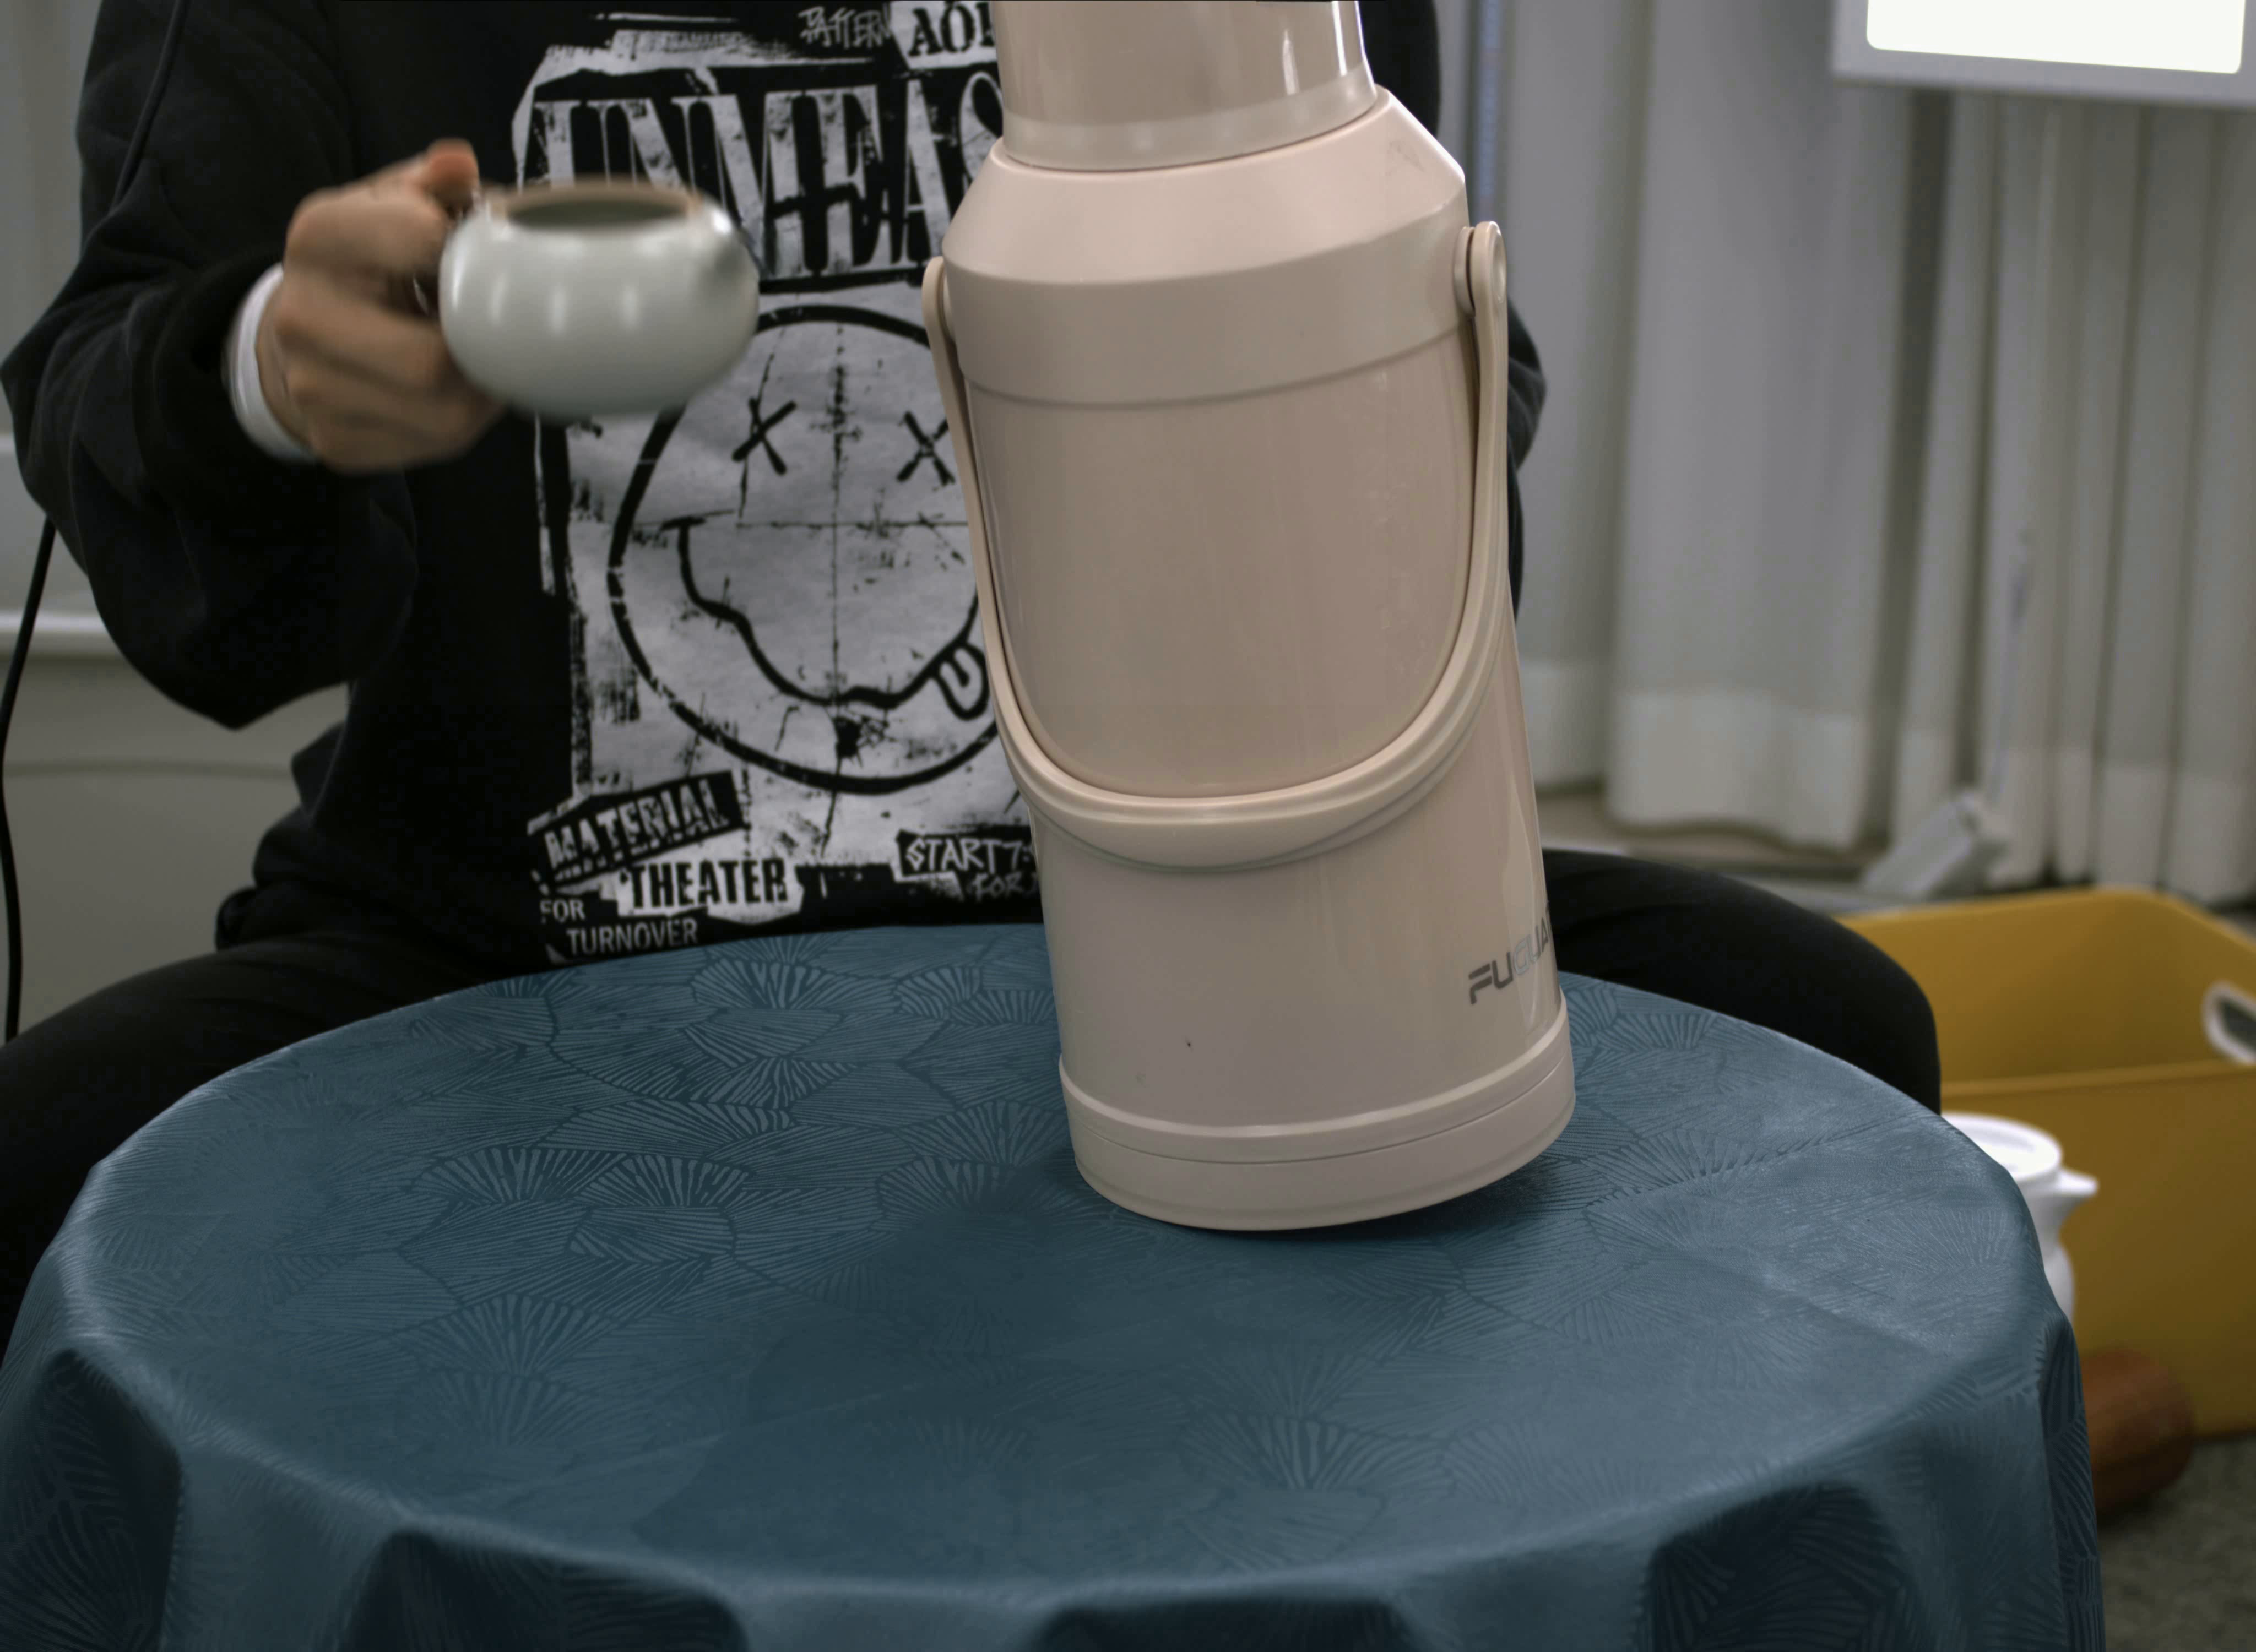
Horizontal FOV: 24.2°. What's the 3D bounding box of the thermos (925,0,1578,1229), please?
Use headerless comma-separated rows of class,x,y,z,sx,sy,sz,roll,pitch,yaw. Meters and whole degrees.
thermos,0.041,-0.097,1.593,0.174,0.410,0.206,-3,21,17

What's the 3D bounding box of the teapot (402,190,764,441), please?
teapot,-0.158,-0.148,1.502,0.126,0.060,0.092,14,29,30
